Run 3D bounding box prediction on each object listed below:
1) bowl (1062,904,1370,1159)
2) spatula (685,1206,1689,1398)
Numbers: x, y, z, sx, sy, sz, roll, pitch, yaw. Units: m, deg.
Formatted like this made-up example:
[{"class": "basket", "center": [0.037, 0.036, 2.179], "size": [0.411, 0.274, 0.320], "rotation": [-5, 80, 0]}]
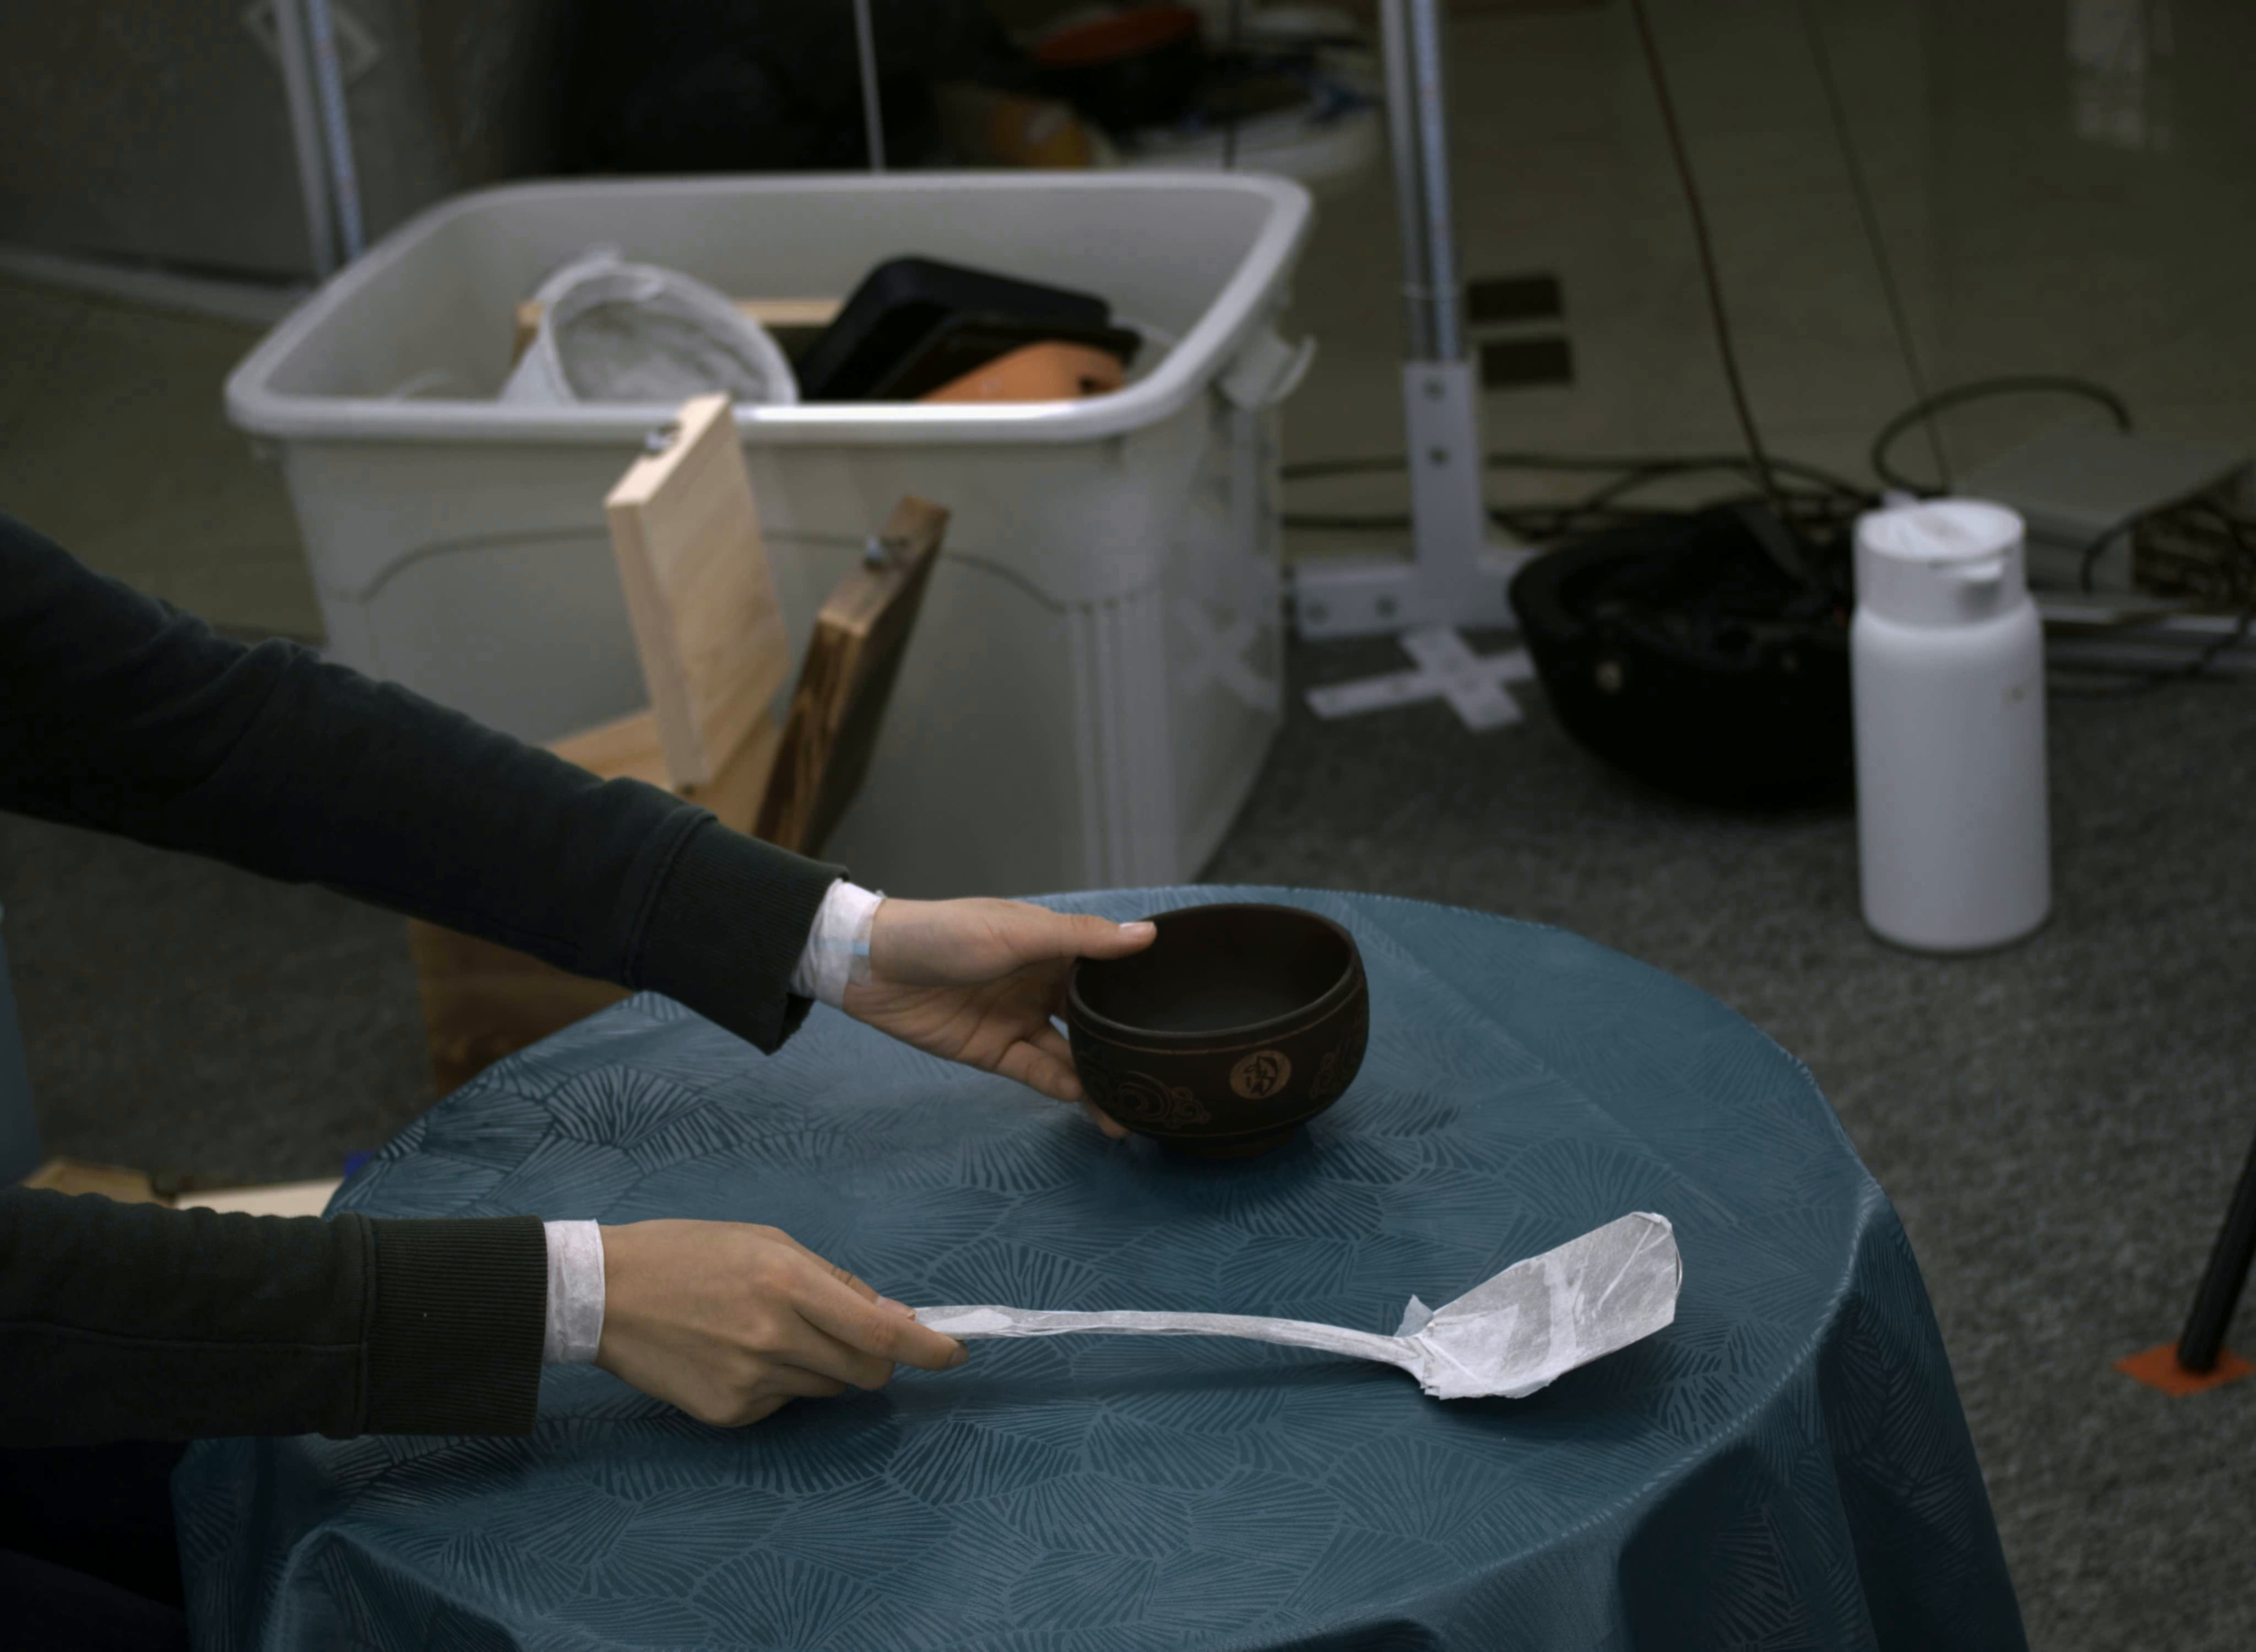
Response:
[{"class": "bowl", "center": [0.035, 0.084, 2.176], "size": [0.118, 0.071, 0.116], "rotation": [-6, 23, 3]}, {"class": "spatula", "center": [0.017, 0.172, 2.020], "size": [0.364, 0.045, 0.097], "rotation": [0, 27, 7]}]
